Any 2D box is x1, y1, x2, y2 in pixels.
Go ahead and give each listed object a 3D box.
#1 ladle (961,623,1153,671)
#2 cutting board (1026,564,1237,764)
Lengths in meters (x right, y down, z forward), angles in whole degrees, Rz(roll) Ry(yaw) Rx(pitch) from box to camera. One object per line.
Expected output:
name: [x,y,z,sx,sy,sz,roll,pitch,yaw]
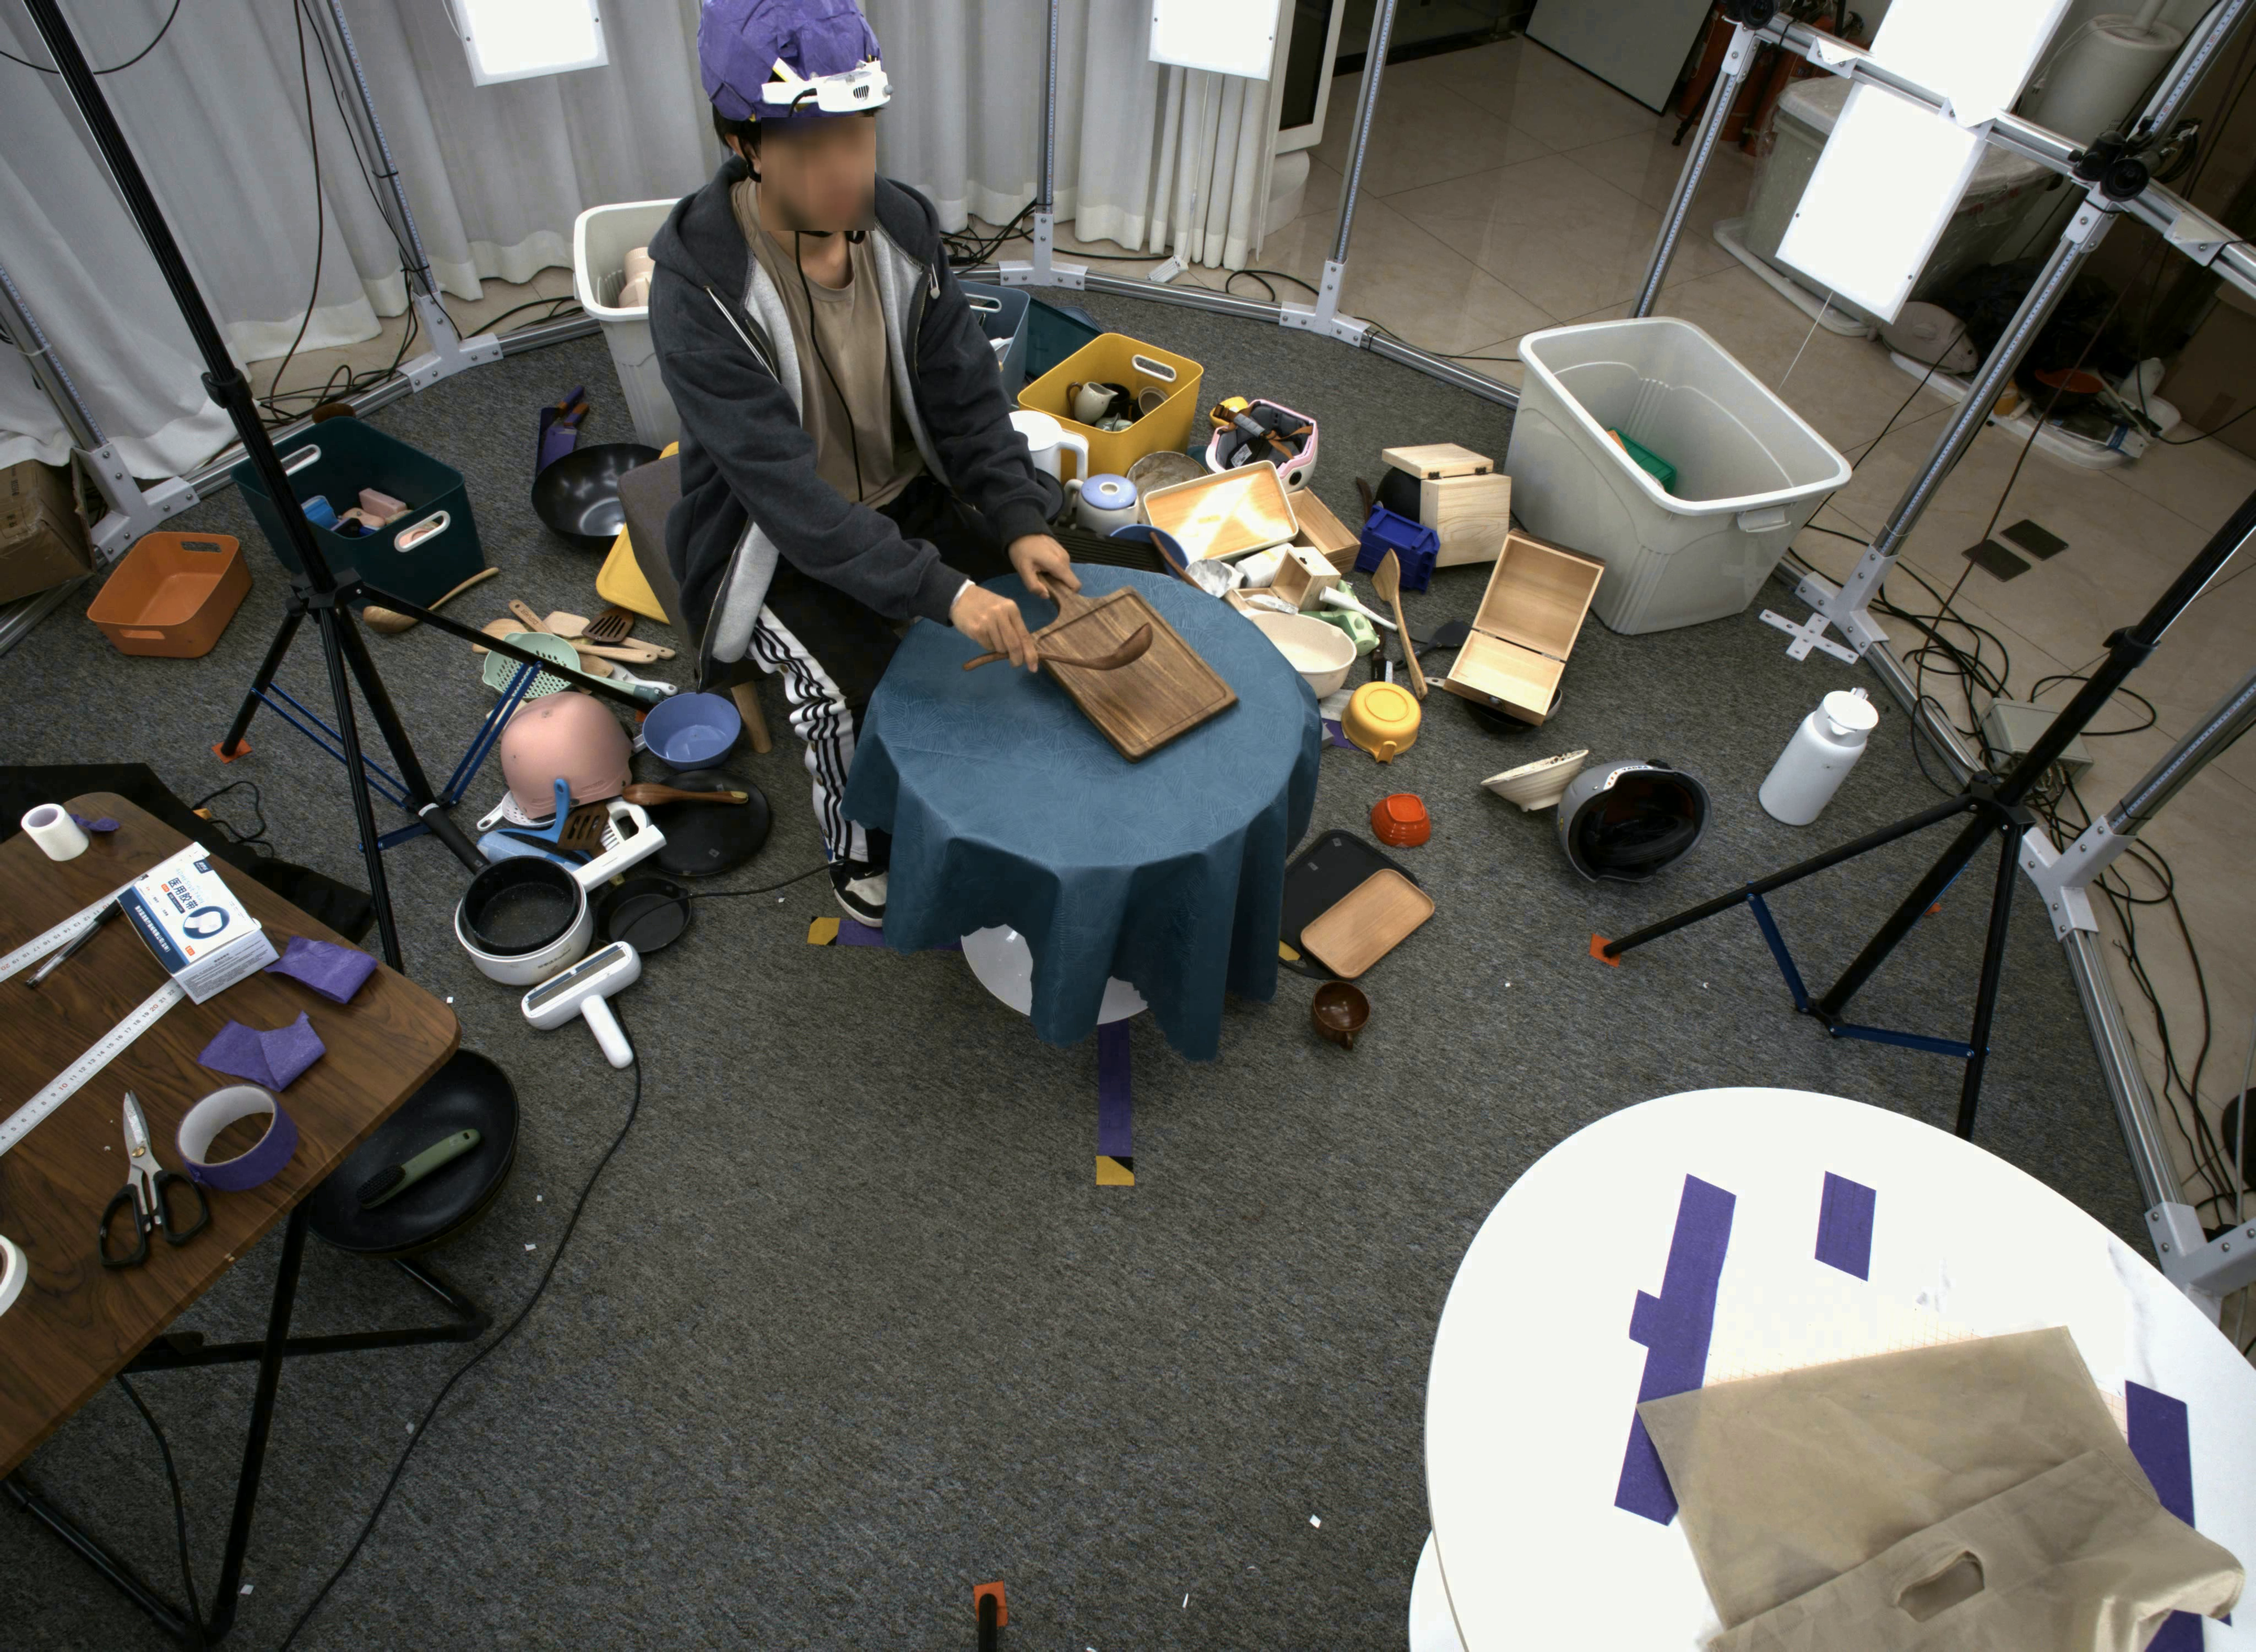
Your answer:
ladle: [-0.095,-0.243,1.737,0.260,0.076,0.065,0,93,-2]
cutting board: [-0.026,-0.255,1.837,0.202,0.023,0.357,-30,66,-27]
